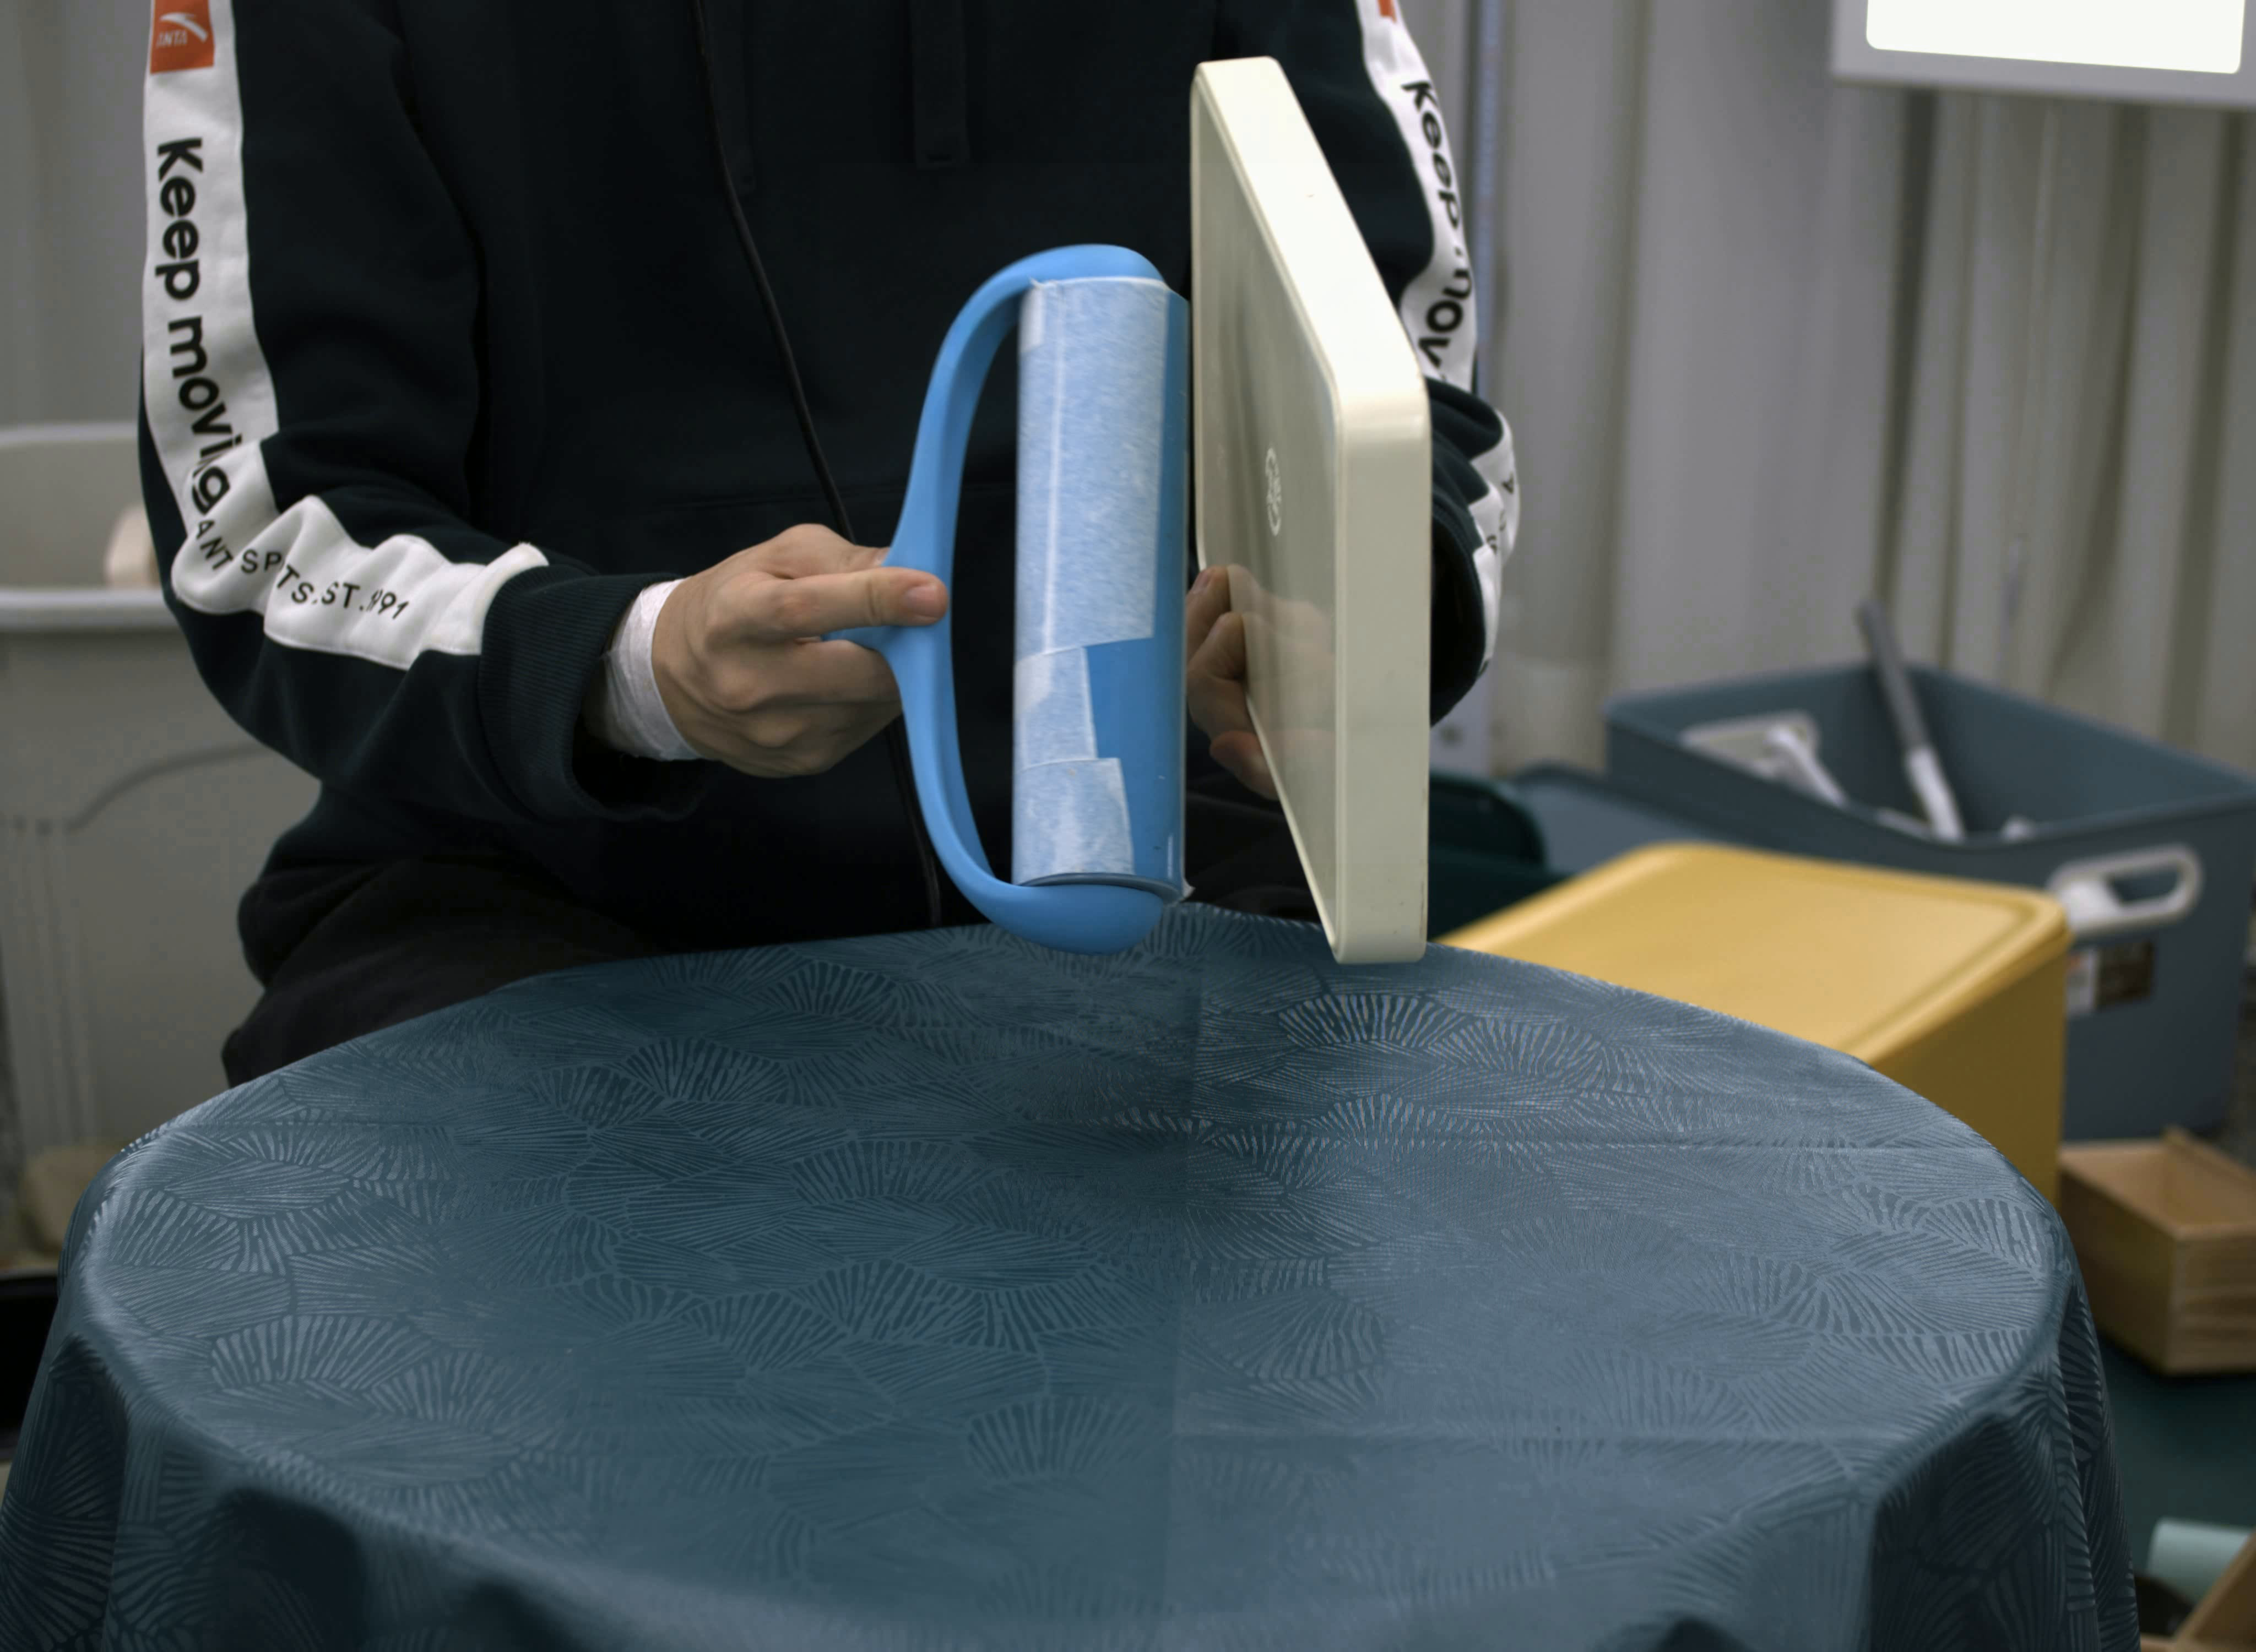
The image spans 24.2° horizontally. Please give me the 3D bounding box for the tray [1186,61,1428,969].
[{"bbox_3d":[0.052,-0.102,1.623,0.027,0.194,0.297,-5,27,-6],"label":"tray"}]

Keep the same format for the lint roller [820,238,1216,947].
[{"bbox_3d":[-0.049,-0.061,1.677,0.179,0.228,0.068,-15,-18,37],"label":"lint roller"}]
